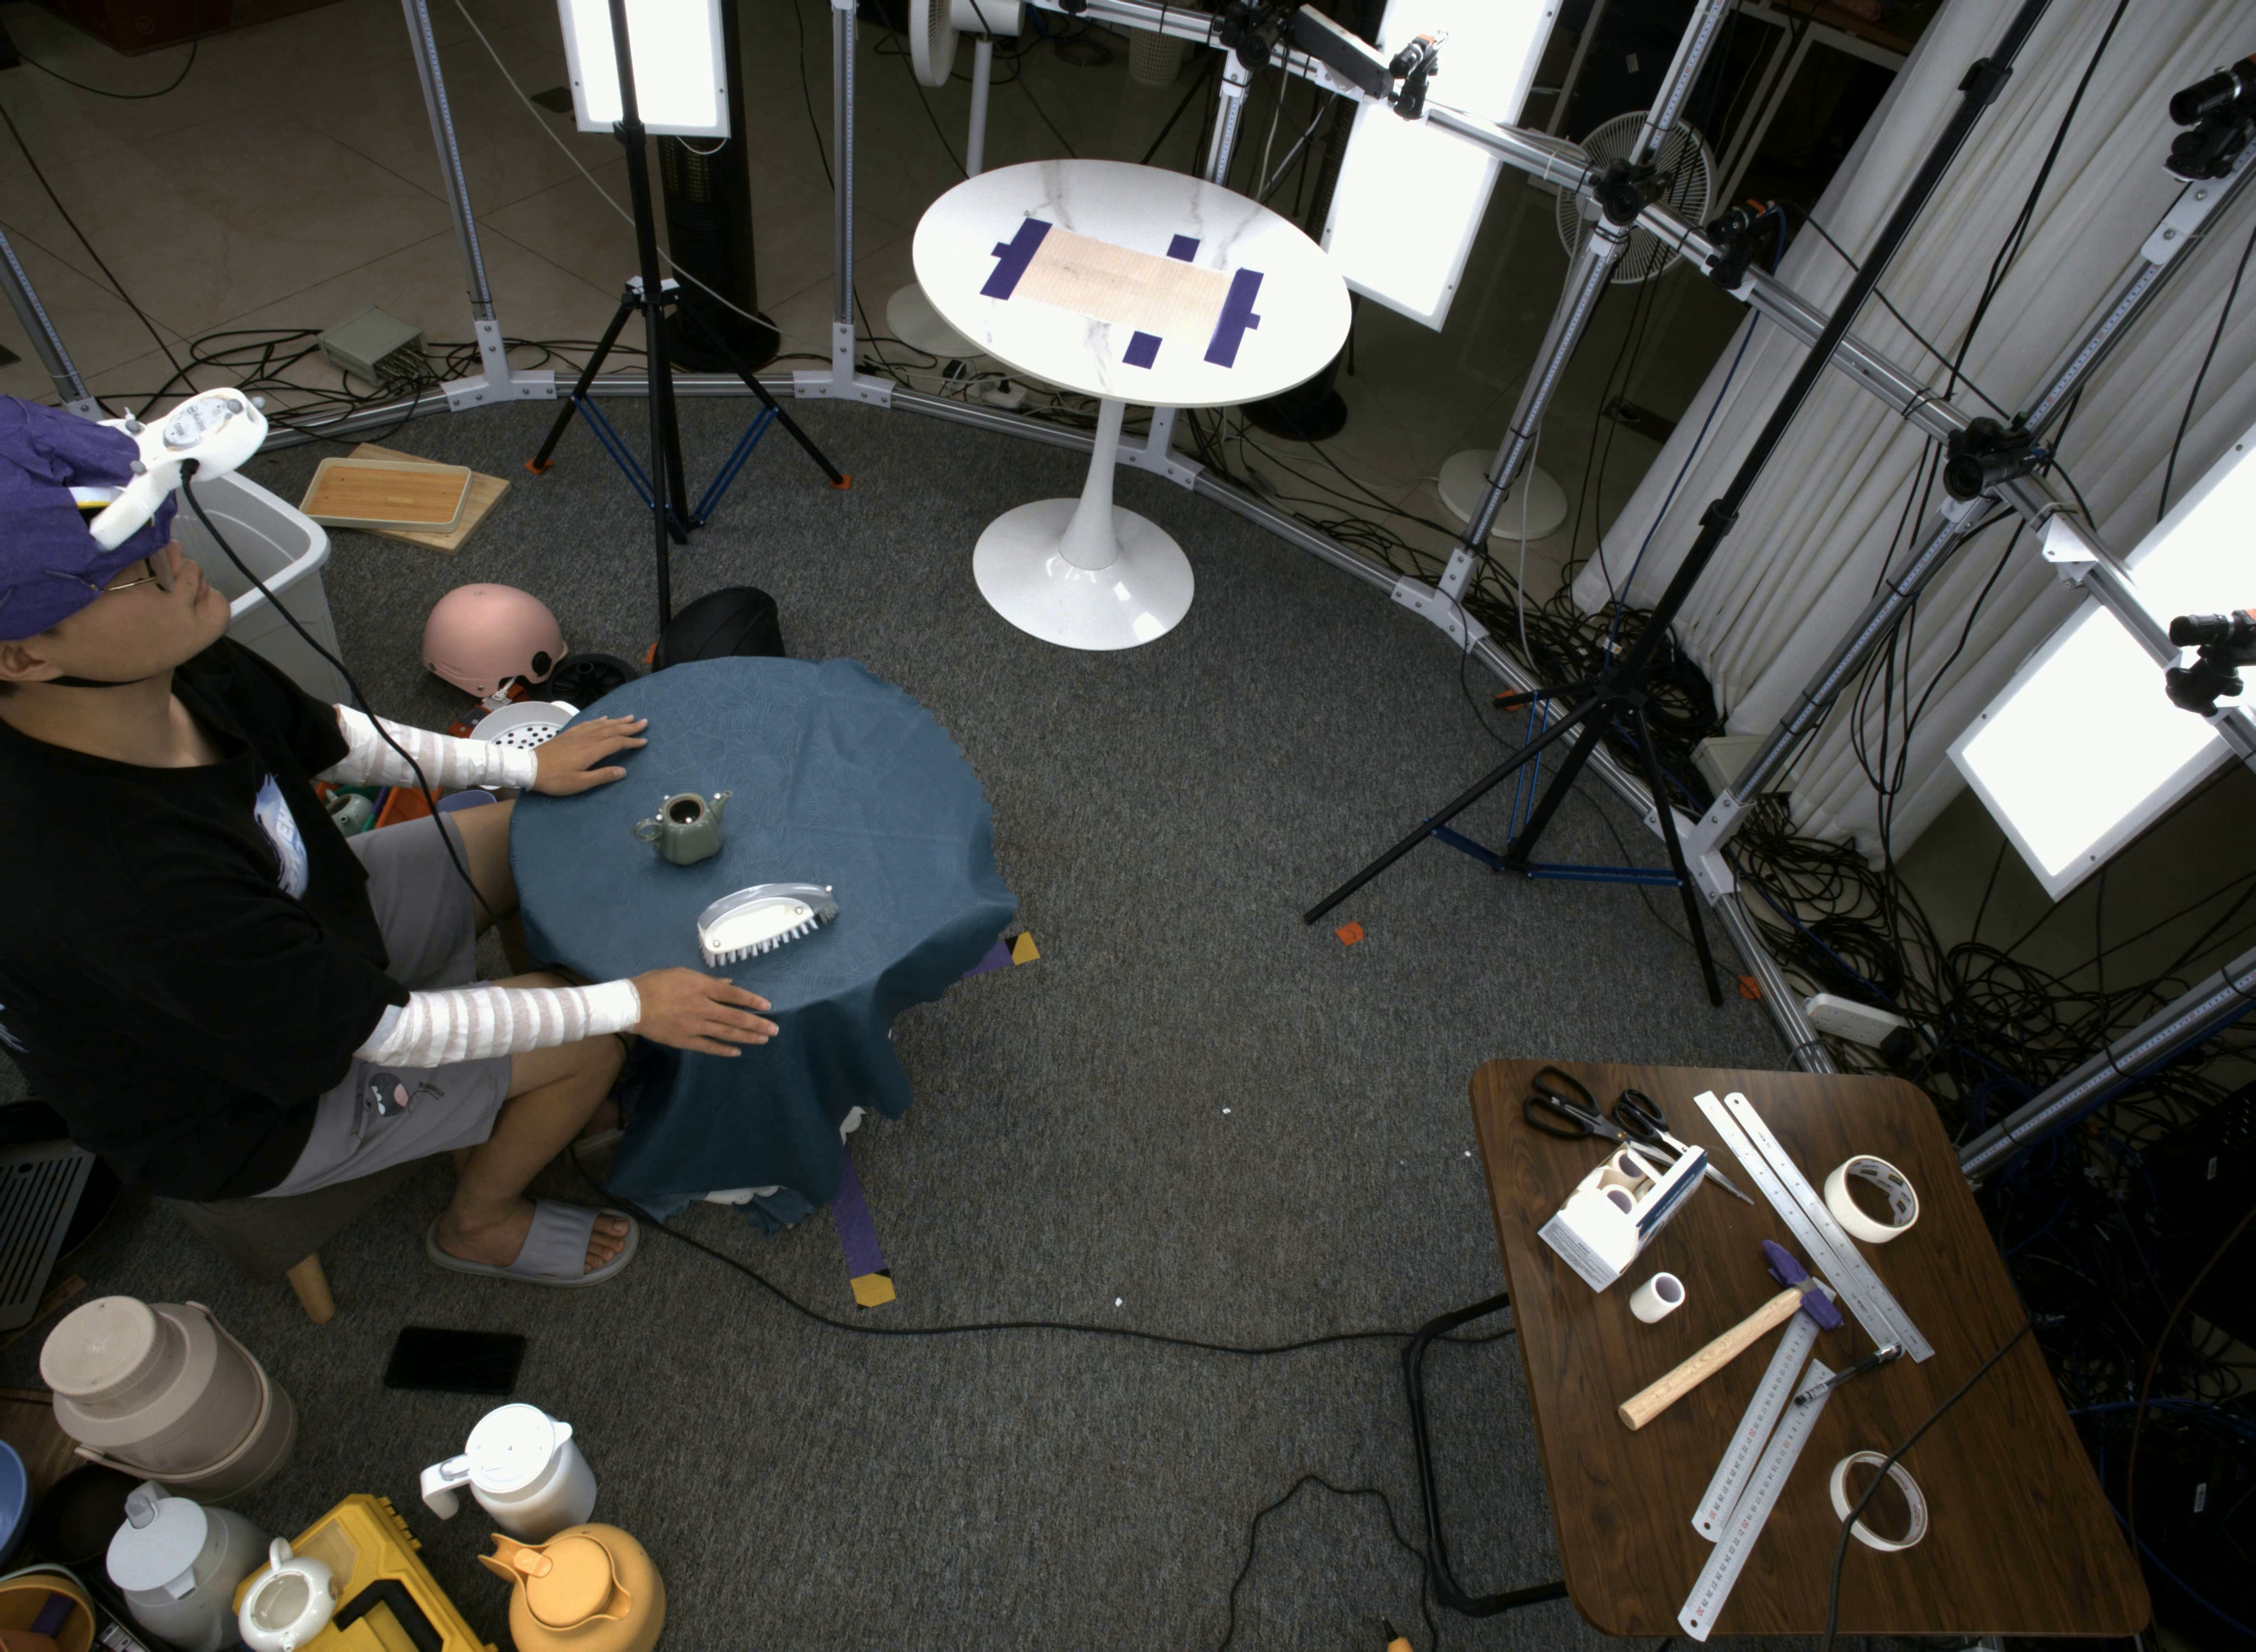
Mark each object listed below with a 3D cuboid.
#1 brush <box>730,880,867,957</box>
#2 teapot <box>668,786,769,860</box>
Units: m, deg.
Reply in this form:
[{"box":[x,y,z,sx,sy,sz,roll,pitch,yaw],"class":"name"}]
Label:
[{"box":[-0.407,0.097,1.608,0.176,0.096,0.060,-15,59,-24],"class":"brush"},{"box":[-0.525,-0.008,1.669,0.133,0.077,0.077,-20,57,-24],"class":"teapot"}]
